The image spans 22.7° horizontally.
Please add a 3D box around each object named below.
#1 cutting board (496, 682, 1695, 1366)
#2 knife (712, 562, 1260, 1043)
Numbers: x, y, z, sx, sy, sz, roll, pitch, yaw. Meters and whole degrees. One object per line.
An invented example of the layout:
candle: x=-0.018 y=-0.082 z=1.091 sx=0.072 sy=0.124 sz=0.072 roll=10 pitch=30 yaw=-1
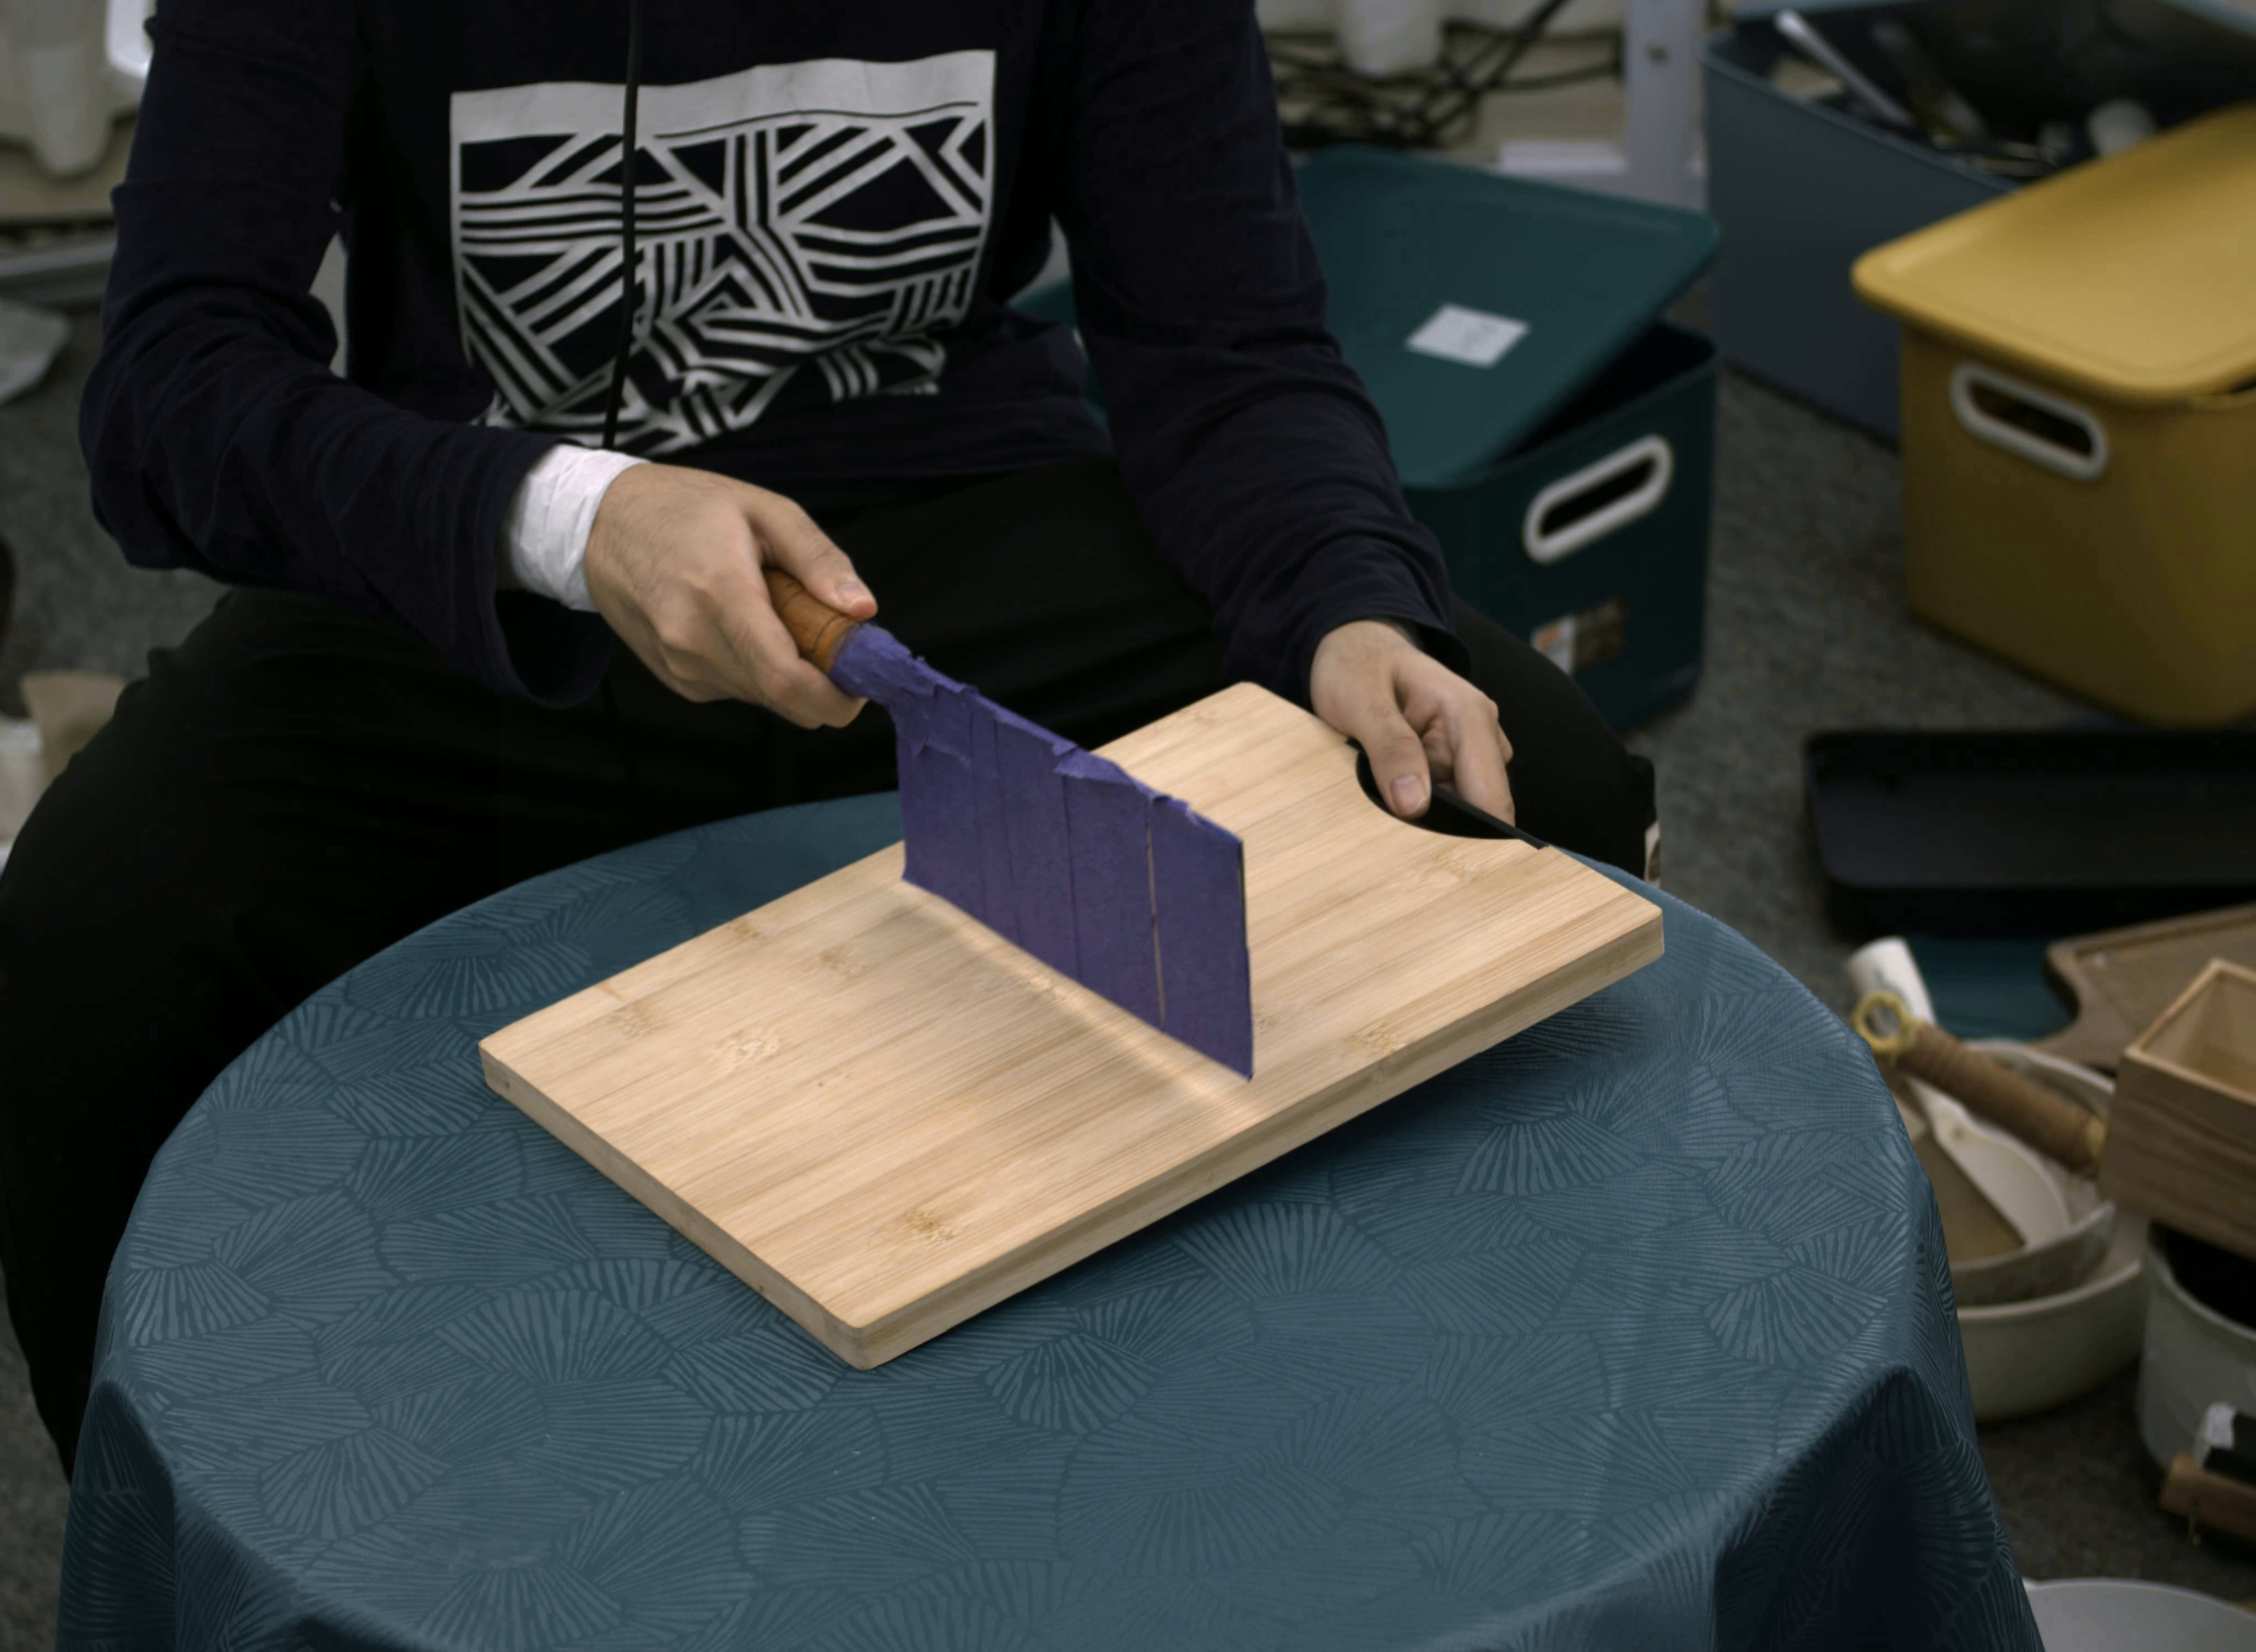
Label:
cutting board: x=-0.015 y=0.058 z=1.937 sx=0.352 sy=0.023 sz=0.251 roll=-25 pitch=34 yaw=-29
knife: x=-0.052 y=-0.007 z=1.927 sx=0.032 sy=0.103 sz=0.315 roll=-16 pitch=26 yaw=-29
